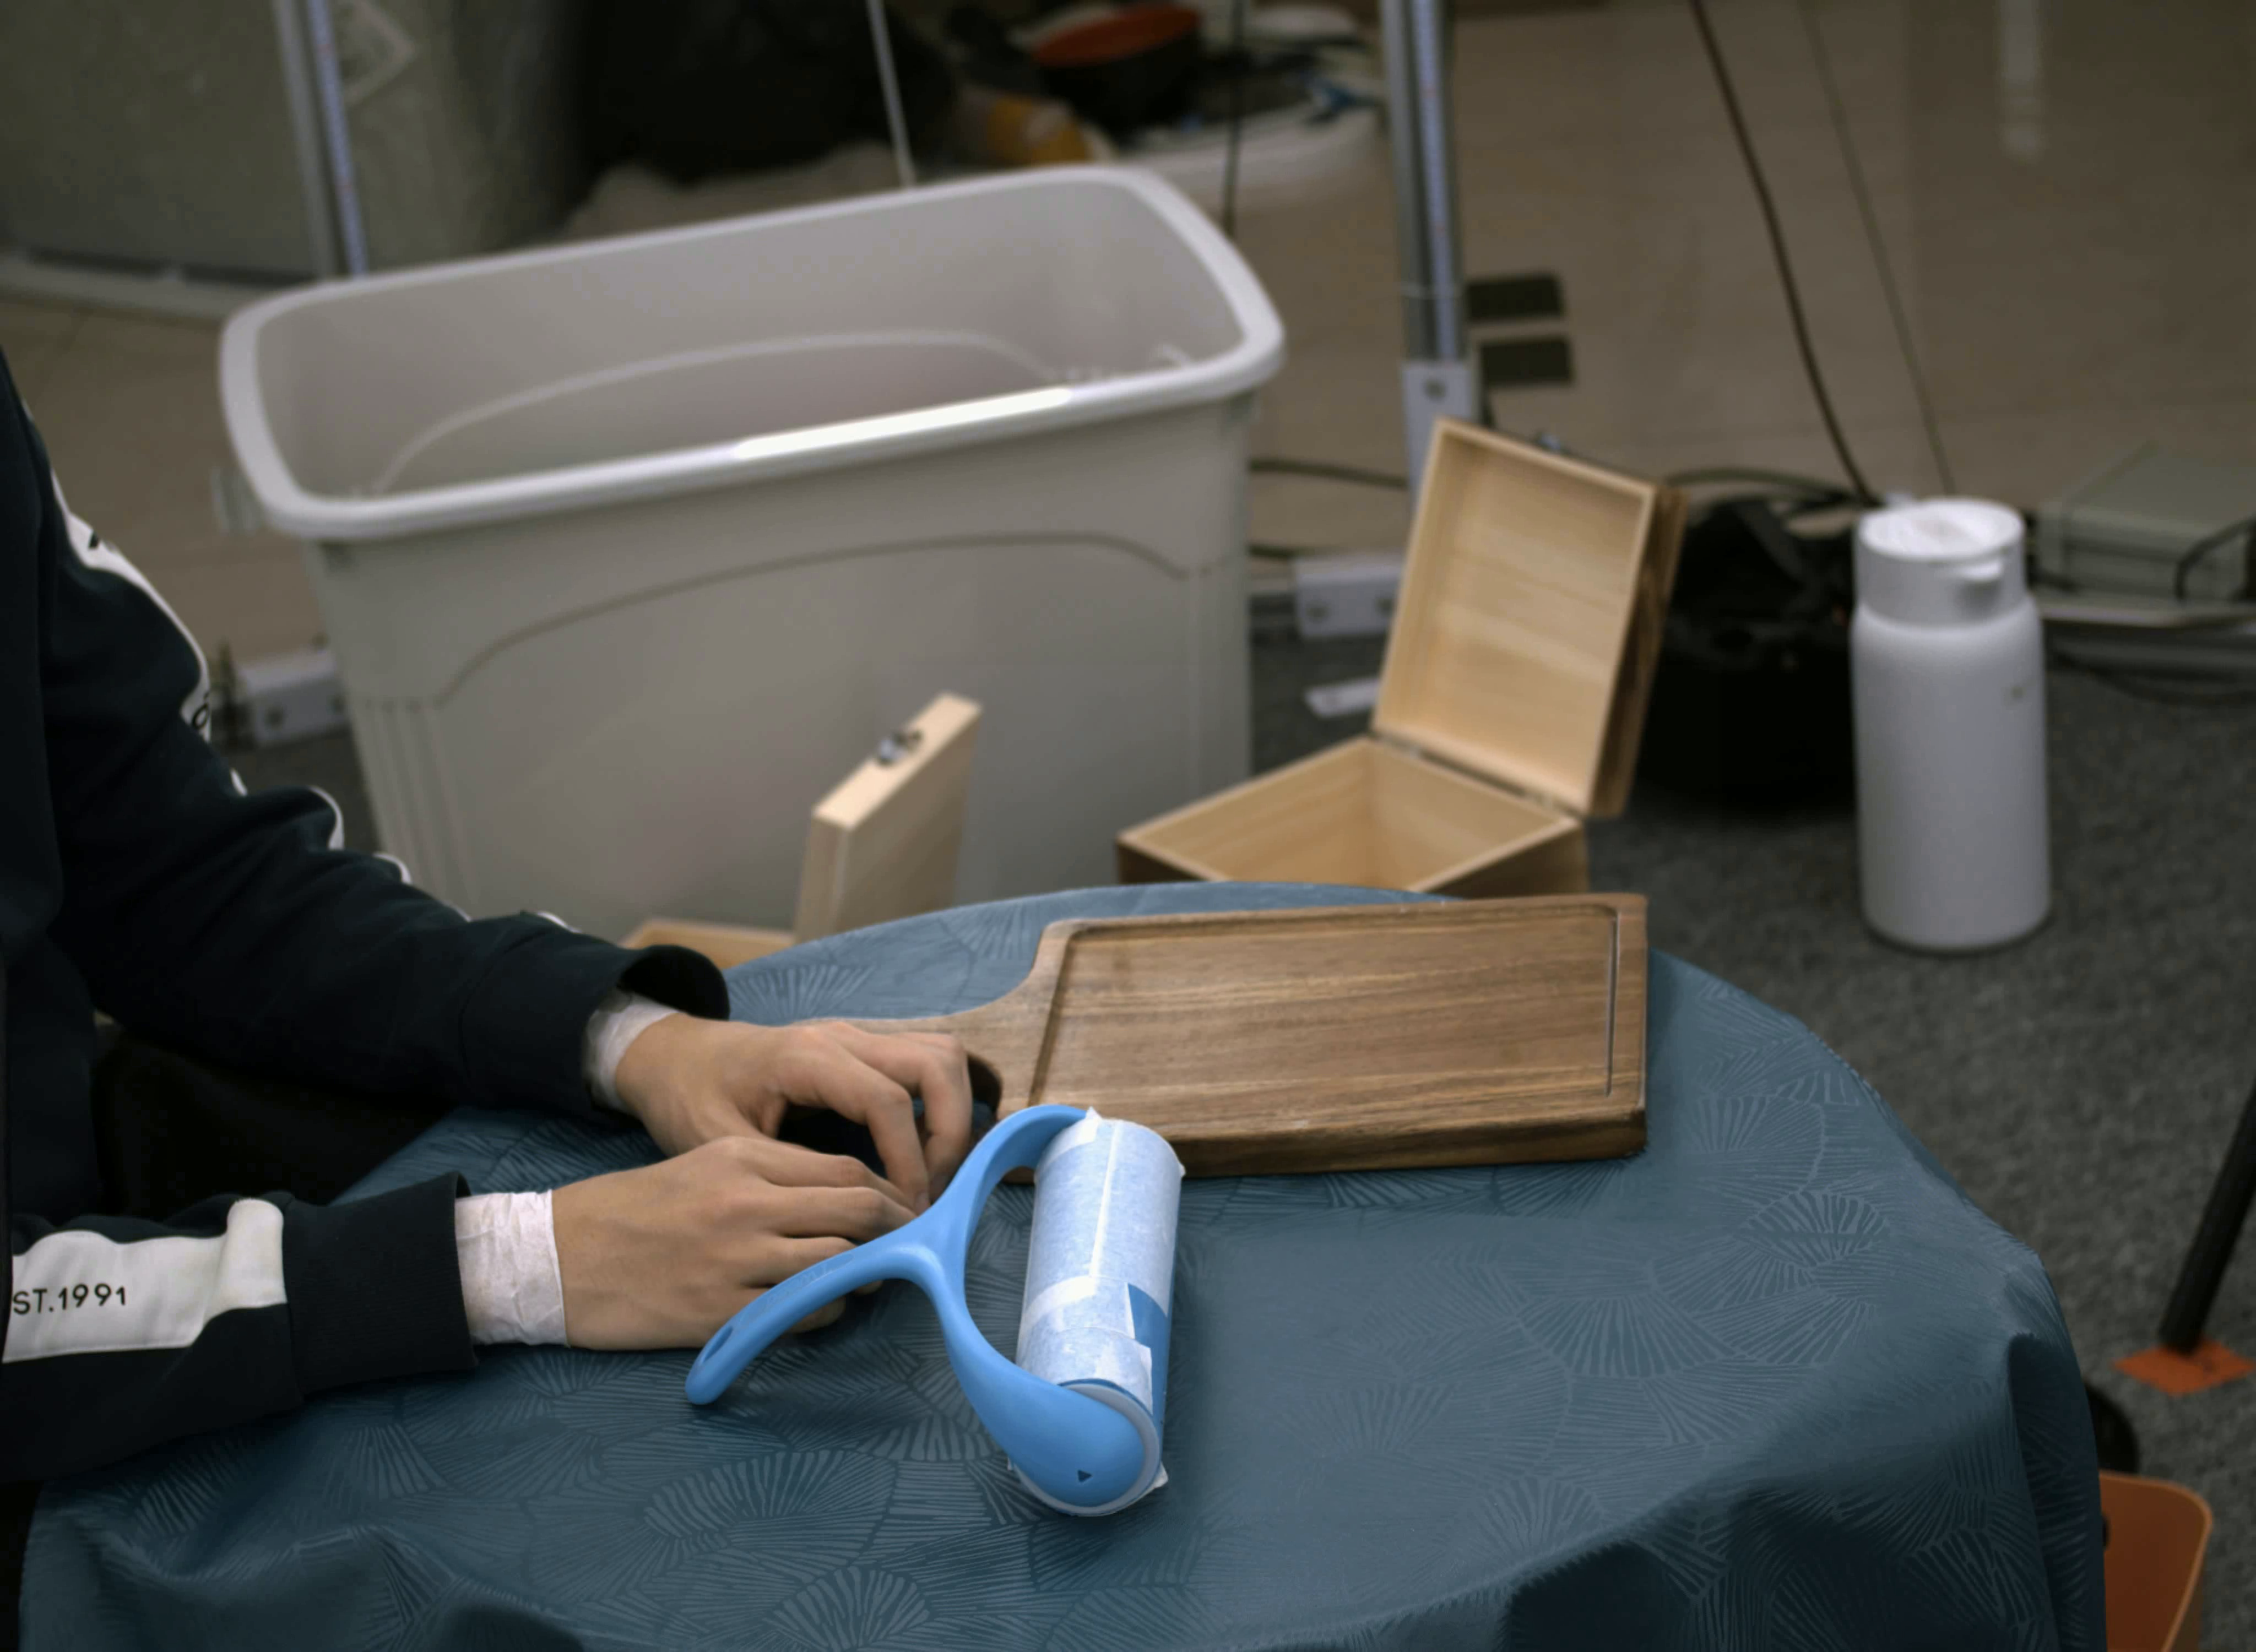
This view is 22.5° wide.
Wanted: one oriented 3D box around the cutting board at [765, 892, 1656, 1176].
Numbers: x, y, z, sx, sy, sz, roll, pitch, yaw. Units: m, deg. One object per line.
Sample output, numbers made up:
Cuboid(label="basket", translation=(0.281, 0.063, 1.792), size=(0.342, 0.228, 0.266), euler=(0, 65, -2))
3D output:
Cuboid(label="cutting board", translation=(0.031, 0.084, 2.229), size=(0.351, 0.023, 0.198), euler=(-3, 24, 7))

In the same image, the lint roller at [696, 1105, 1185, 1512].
Cuboid(label="lint roller", translation=(-0.068, 0.175, 2.016), size=(0.180, 0.069, 0.225), euler=(-5, 26, 2))
